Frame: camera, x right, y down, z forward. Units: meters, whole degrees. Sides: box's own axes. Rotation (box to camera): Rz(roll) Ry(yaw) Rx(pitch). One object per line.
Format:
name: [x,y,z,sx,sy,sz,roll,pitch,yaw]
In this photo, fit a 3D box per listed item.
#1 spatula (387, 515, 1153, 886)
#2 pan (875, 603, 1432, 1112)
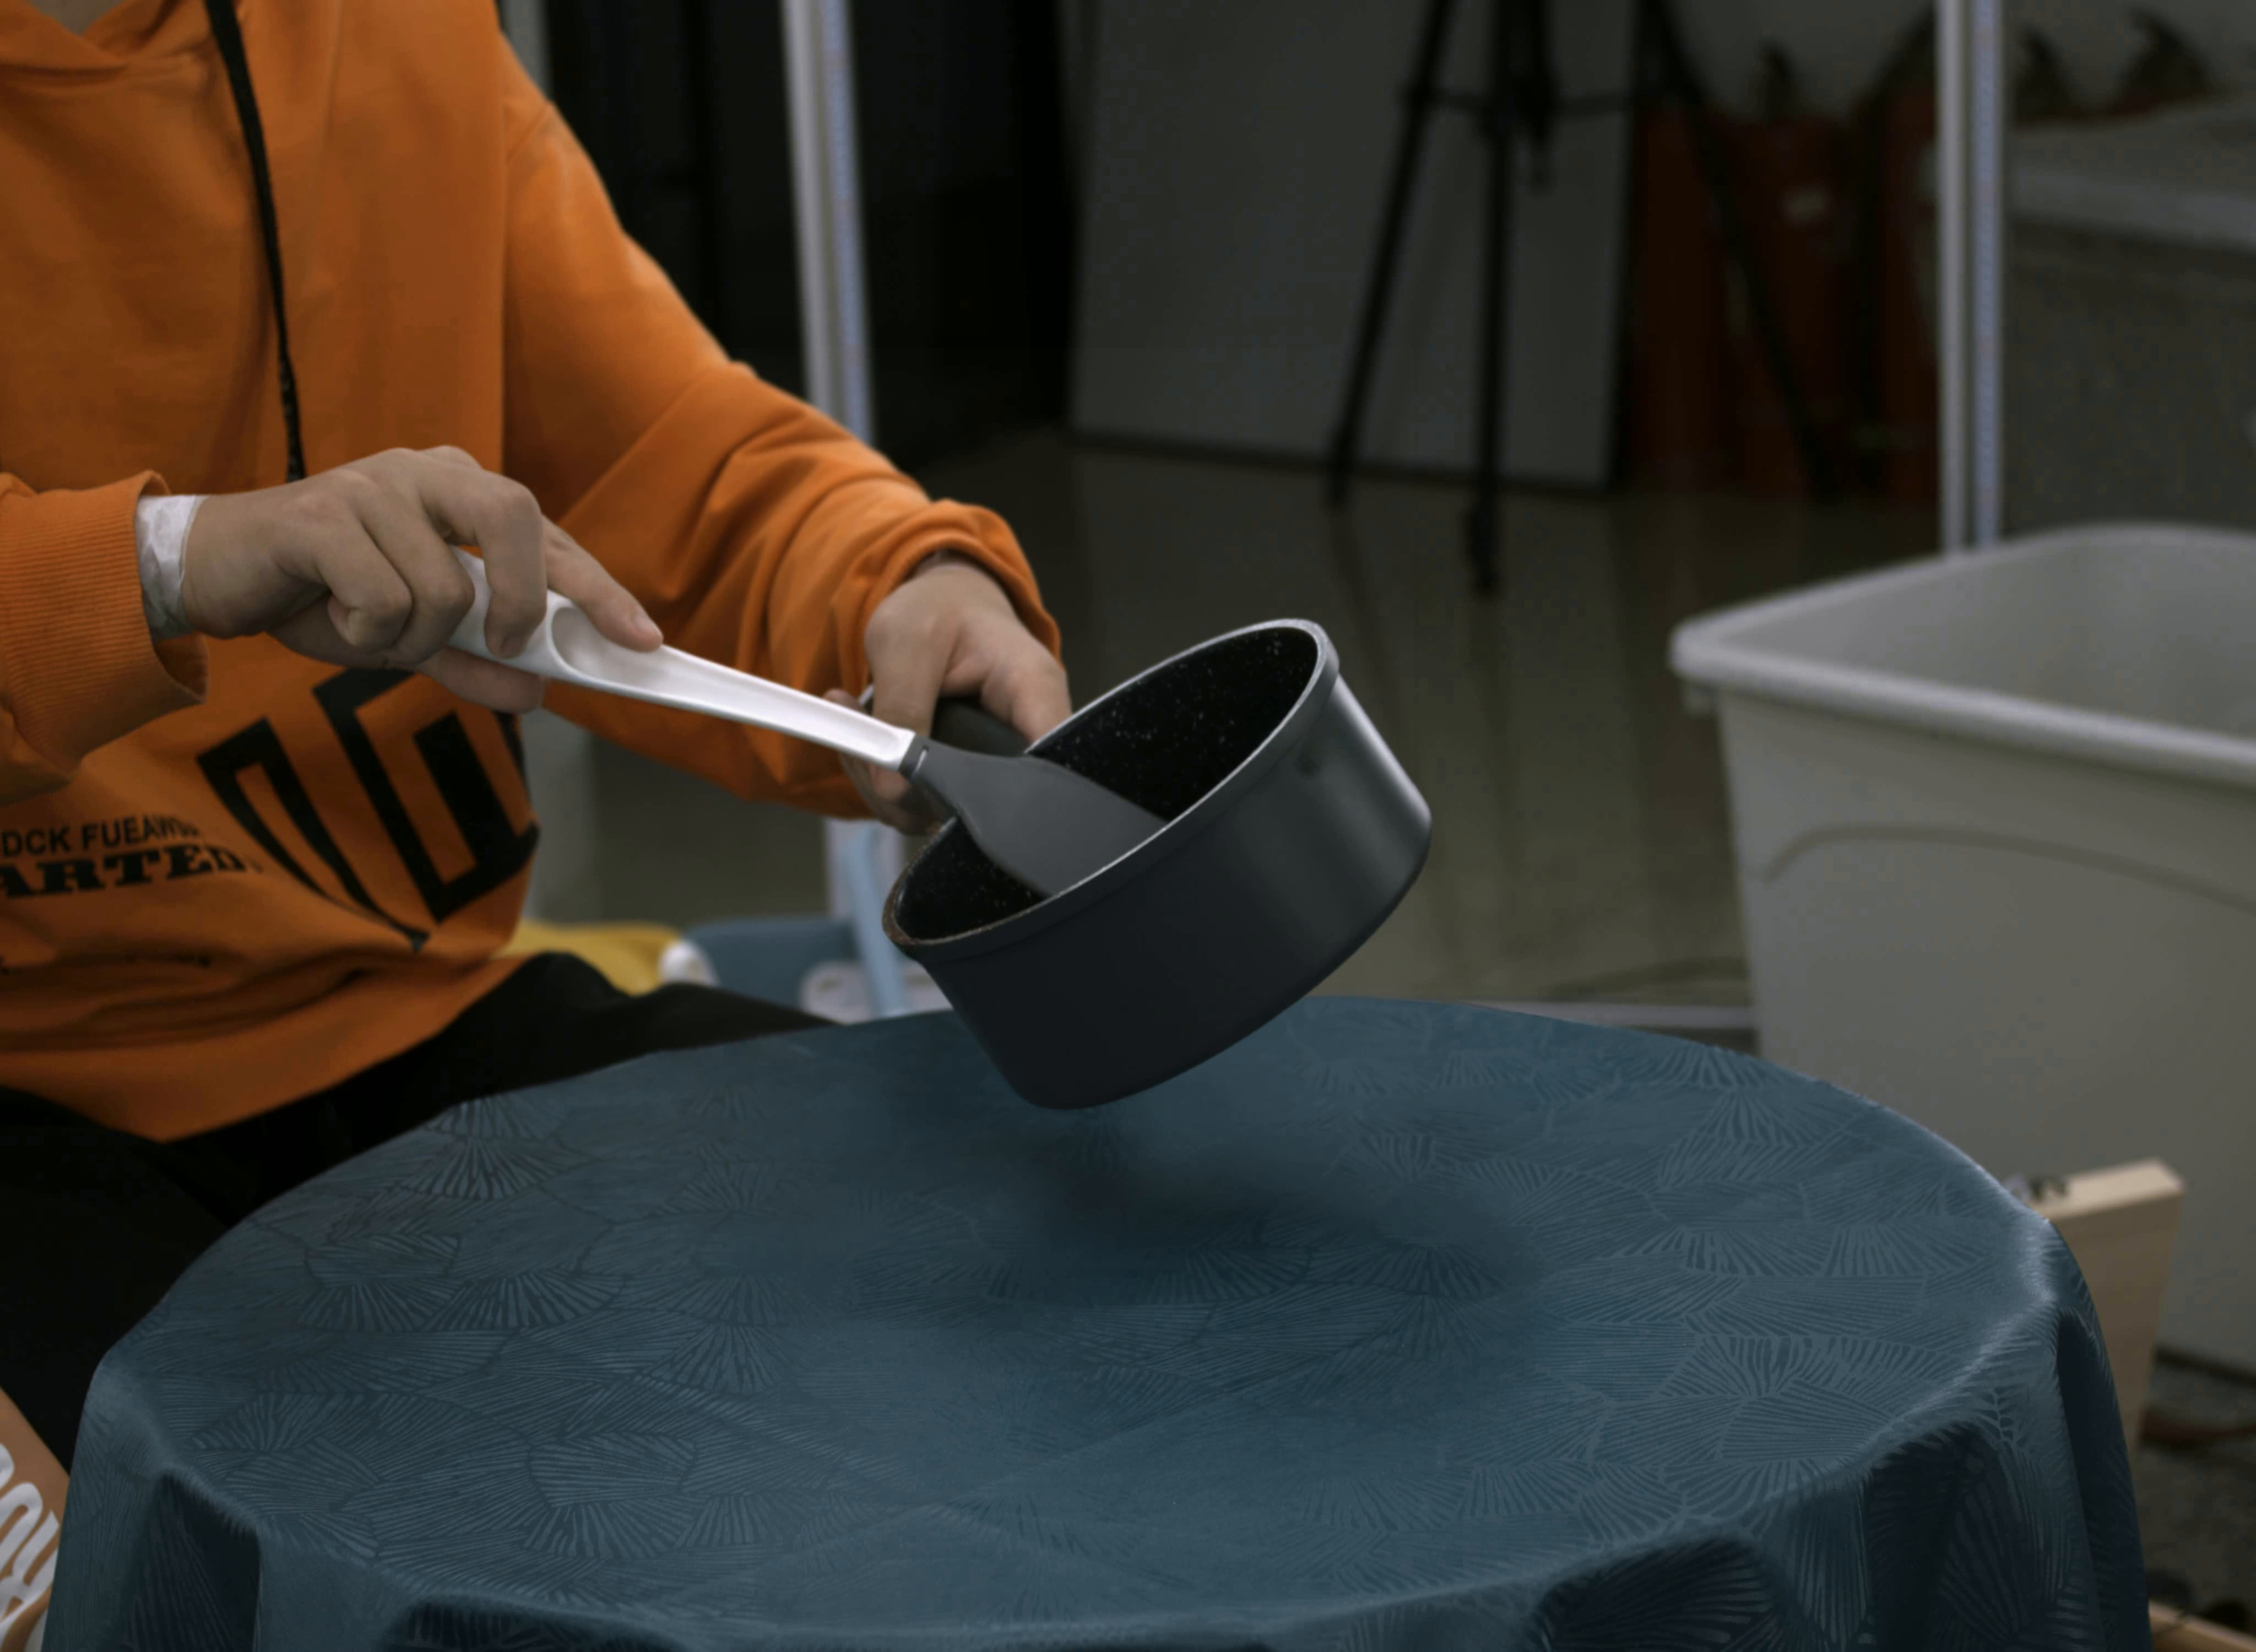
spatula: [-0.104,-0.032,1.748,0.286,0.032,0.058,22,49,6]
pan: [-0.013,0.000,1.797,0.171,0.086,0.331,-37,17,-9]
